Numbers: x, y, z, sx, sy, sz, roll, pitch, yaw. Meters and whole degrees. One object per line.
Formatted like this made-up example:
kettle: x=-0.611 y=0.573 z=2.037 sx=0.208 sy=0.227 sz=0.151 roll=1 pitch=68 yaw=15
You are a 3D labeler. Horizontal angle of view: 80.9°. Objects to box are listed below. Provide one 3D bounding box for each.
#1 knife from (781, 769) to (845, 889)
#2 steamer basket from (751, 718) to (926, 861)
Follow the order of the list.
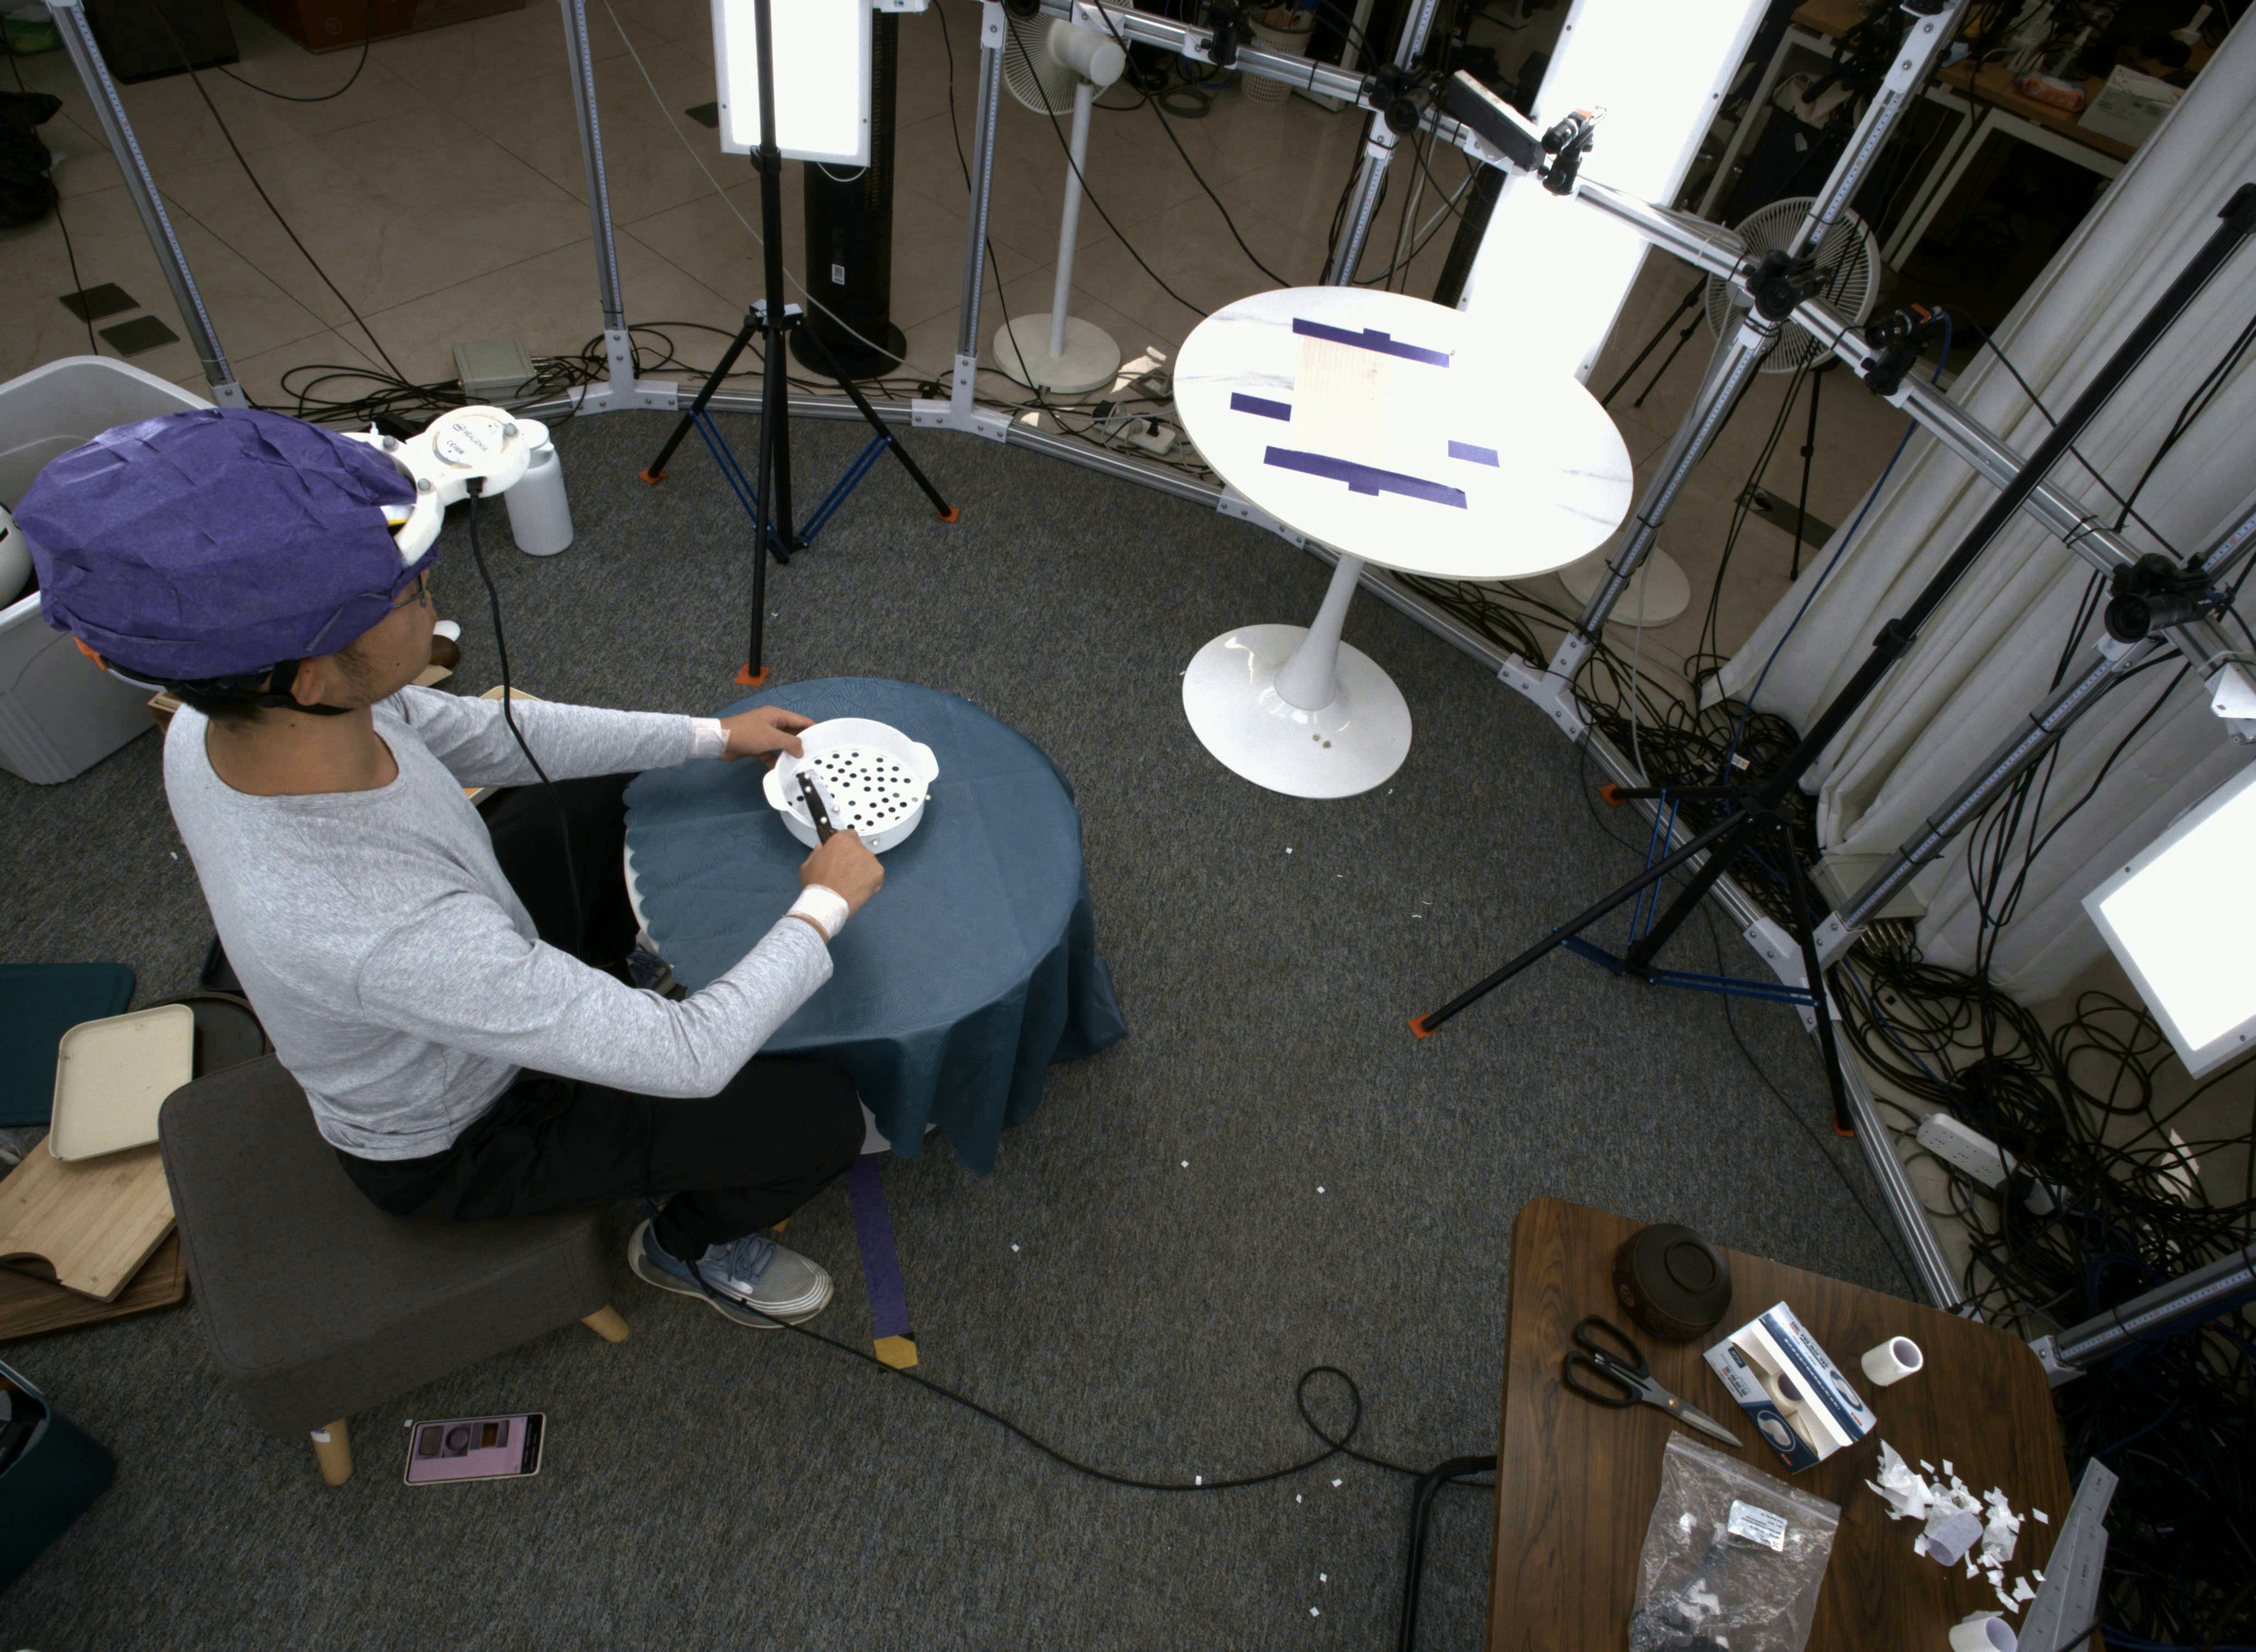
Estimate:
knife: x=-0.397 y=-0.005 z=1.631 sx=0.051 sy=0.020 sz=0.279 roll=16 pitch=23 yaw=-33
steamer basket: x=-0.385 y=-0.049 z=1.739 sx=0.231 sy=0.070 sz=0.197 roll=-14 pitch=58 yaw=-22
